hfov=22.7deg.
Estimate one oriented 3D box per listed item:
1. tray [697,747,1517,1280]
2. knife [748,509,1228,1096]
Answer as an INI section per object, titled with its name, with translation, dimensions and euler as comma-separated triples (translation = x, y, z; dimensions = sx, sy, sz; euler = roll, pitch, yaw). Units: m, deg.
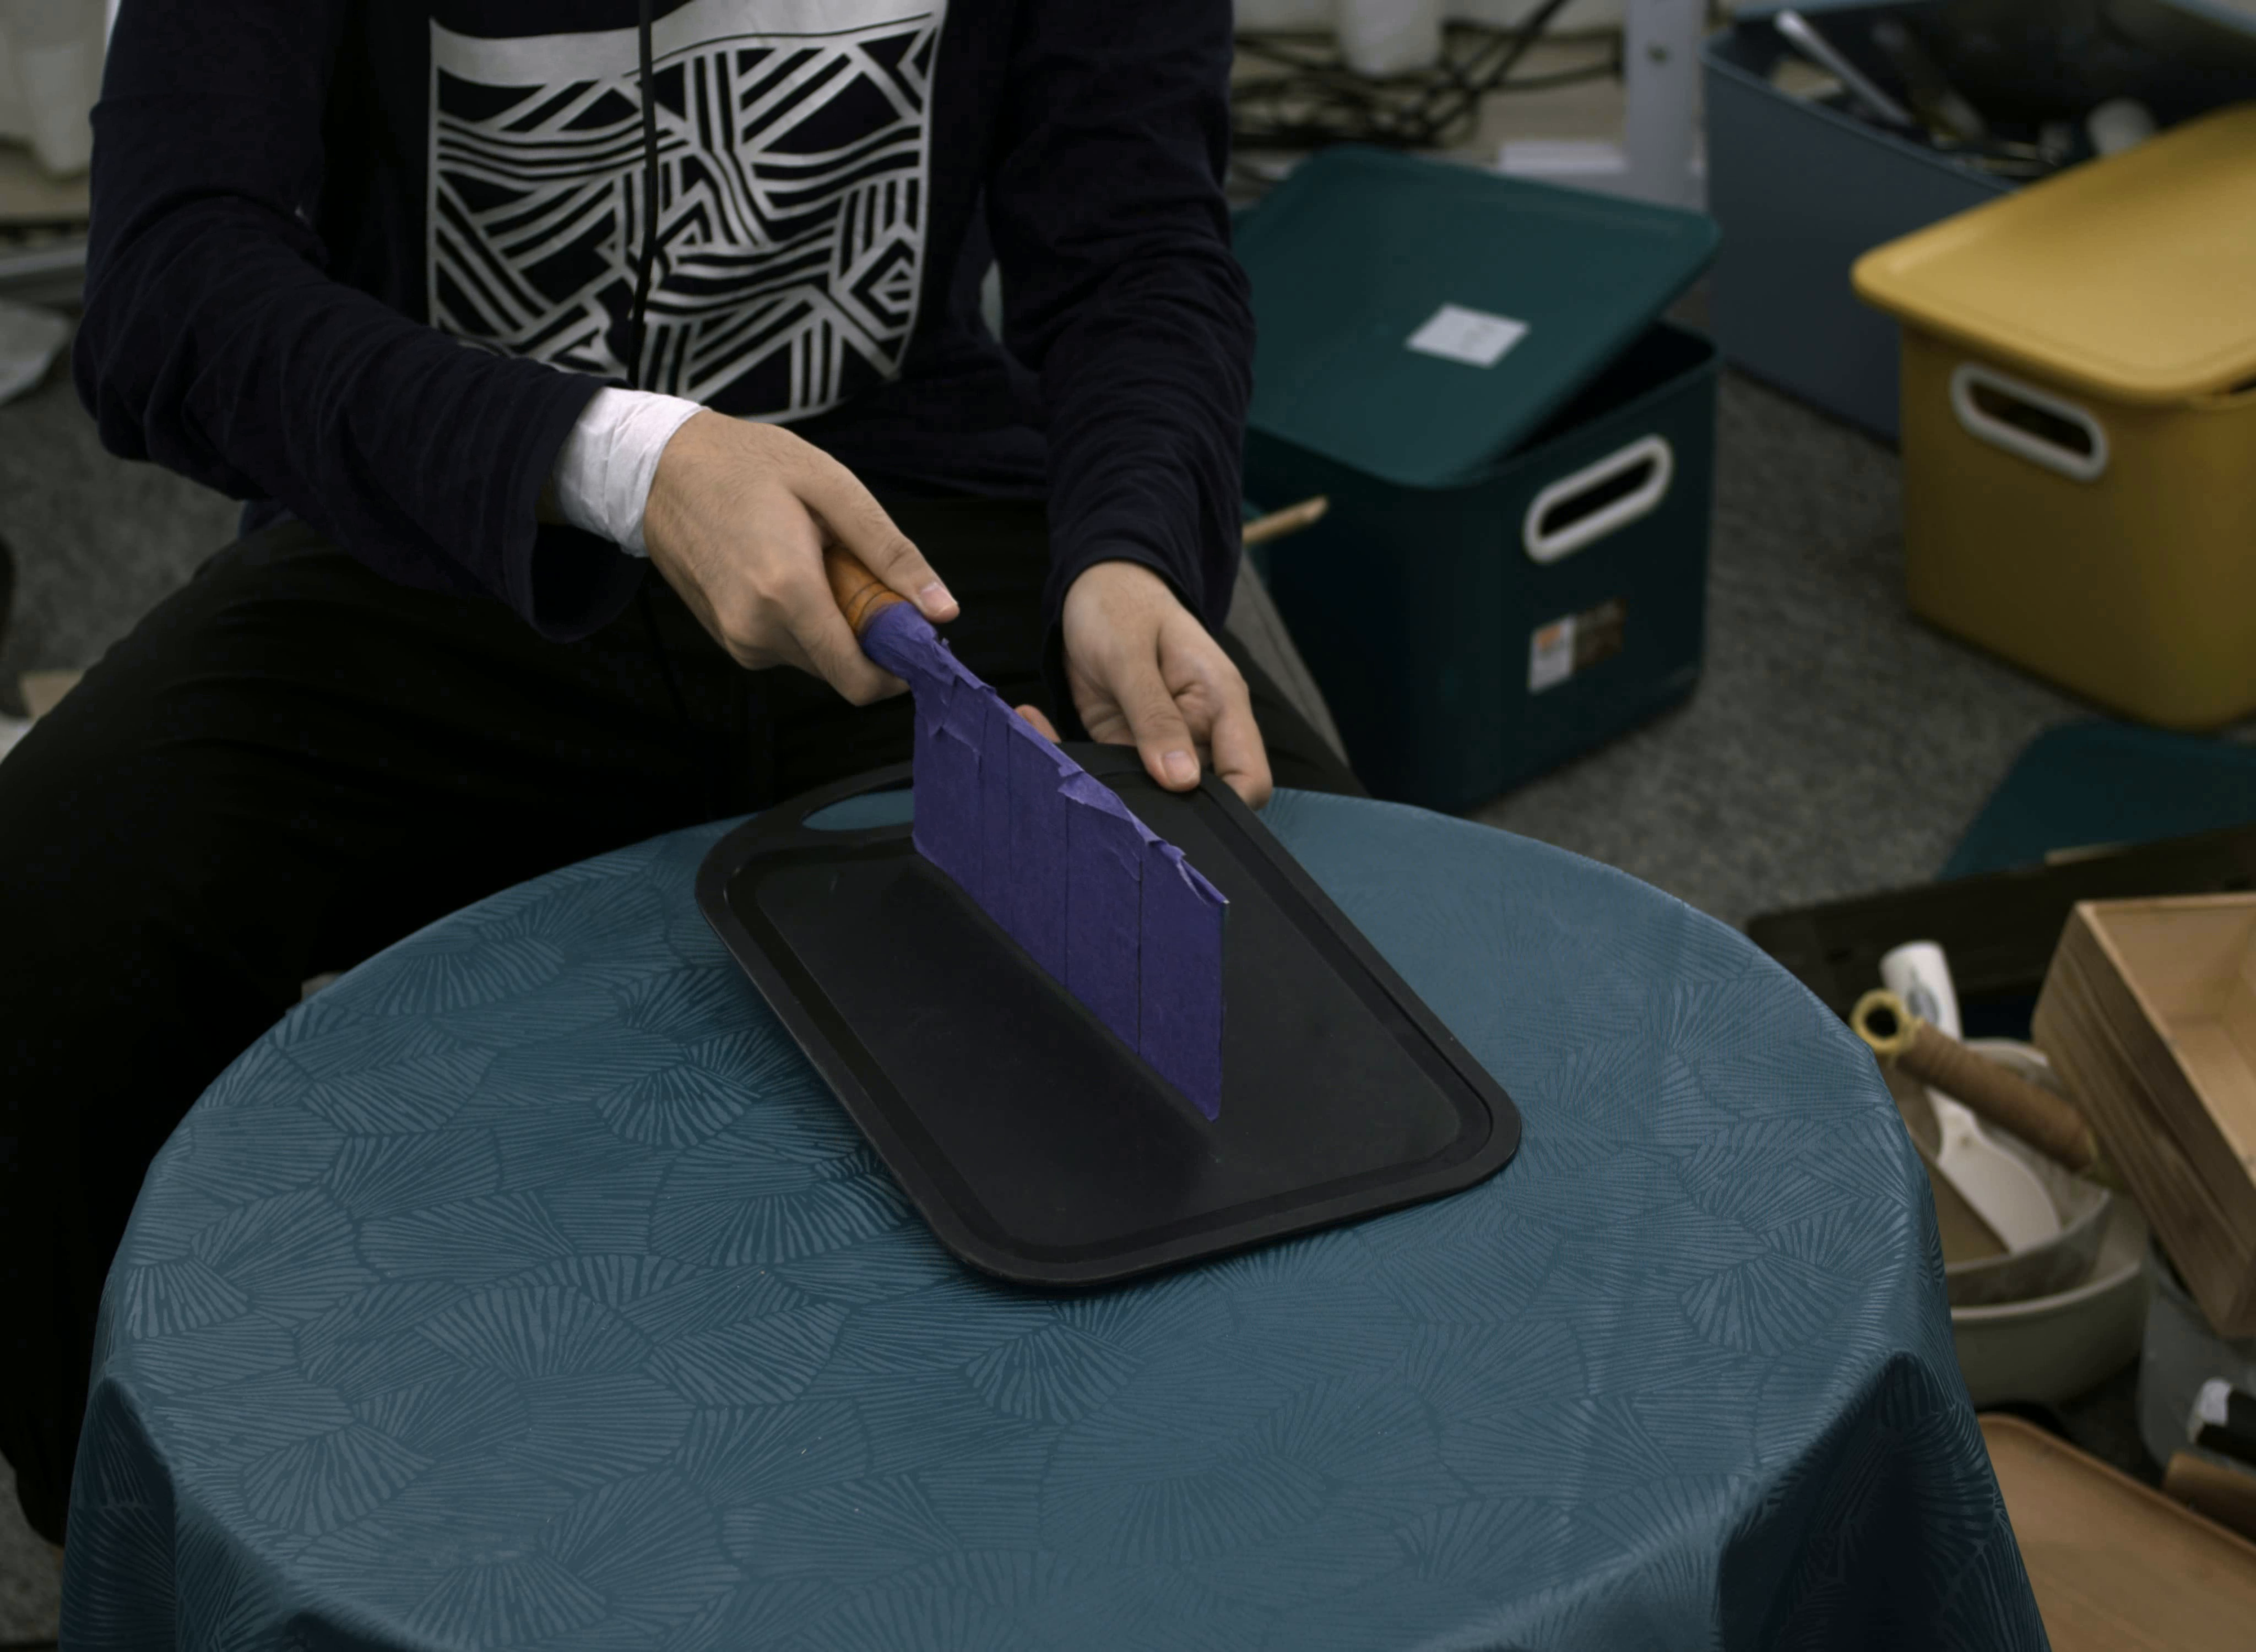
[tray]
translation = -0.017, 0.055, 1.951
dimensions = 0.212, 0.009, 0.328
euler = -12, 33, -21
[knife]
translation = -0.052, -0.008, 1.958
dimensions = 0.032, 0.102, 0.317
euler = -12, 32, -27
